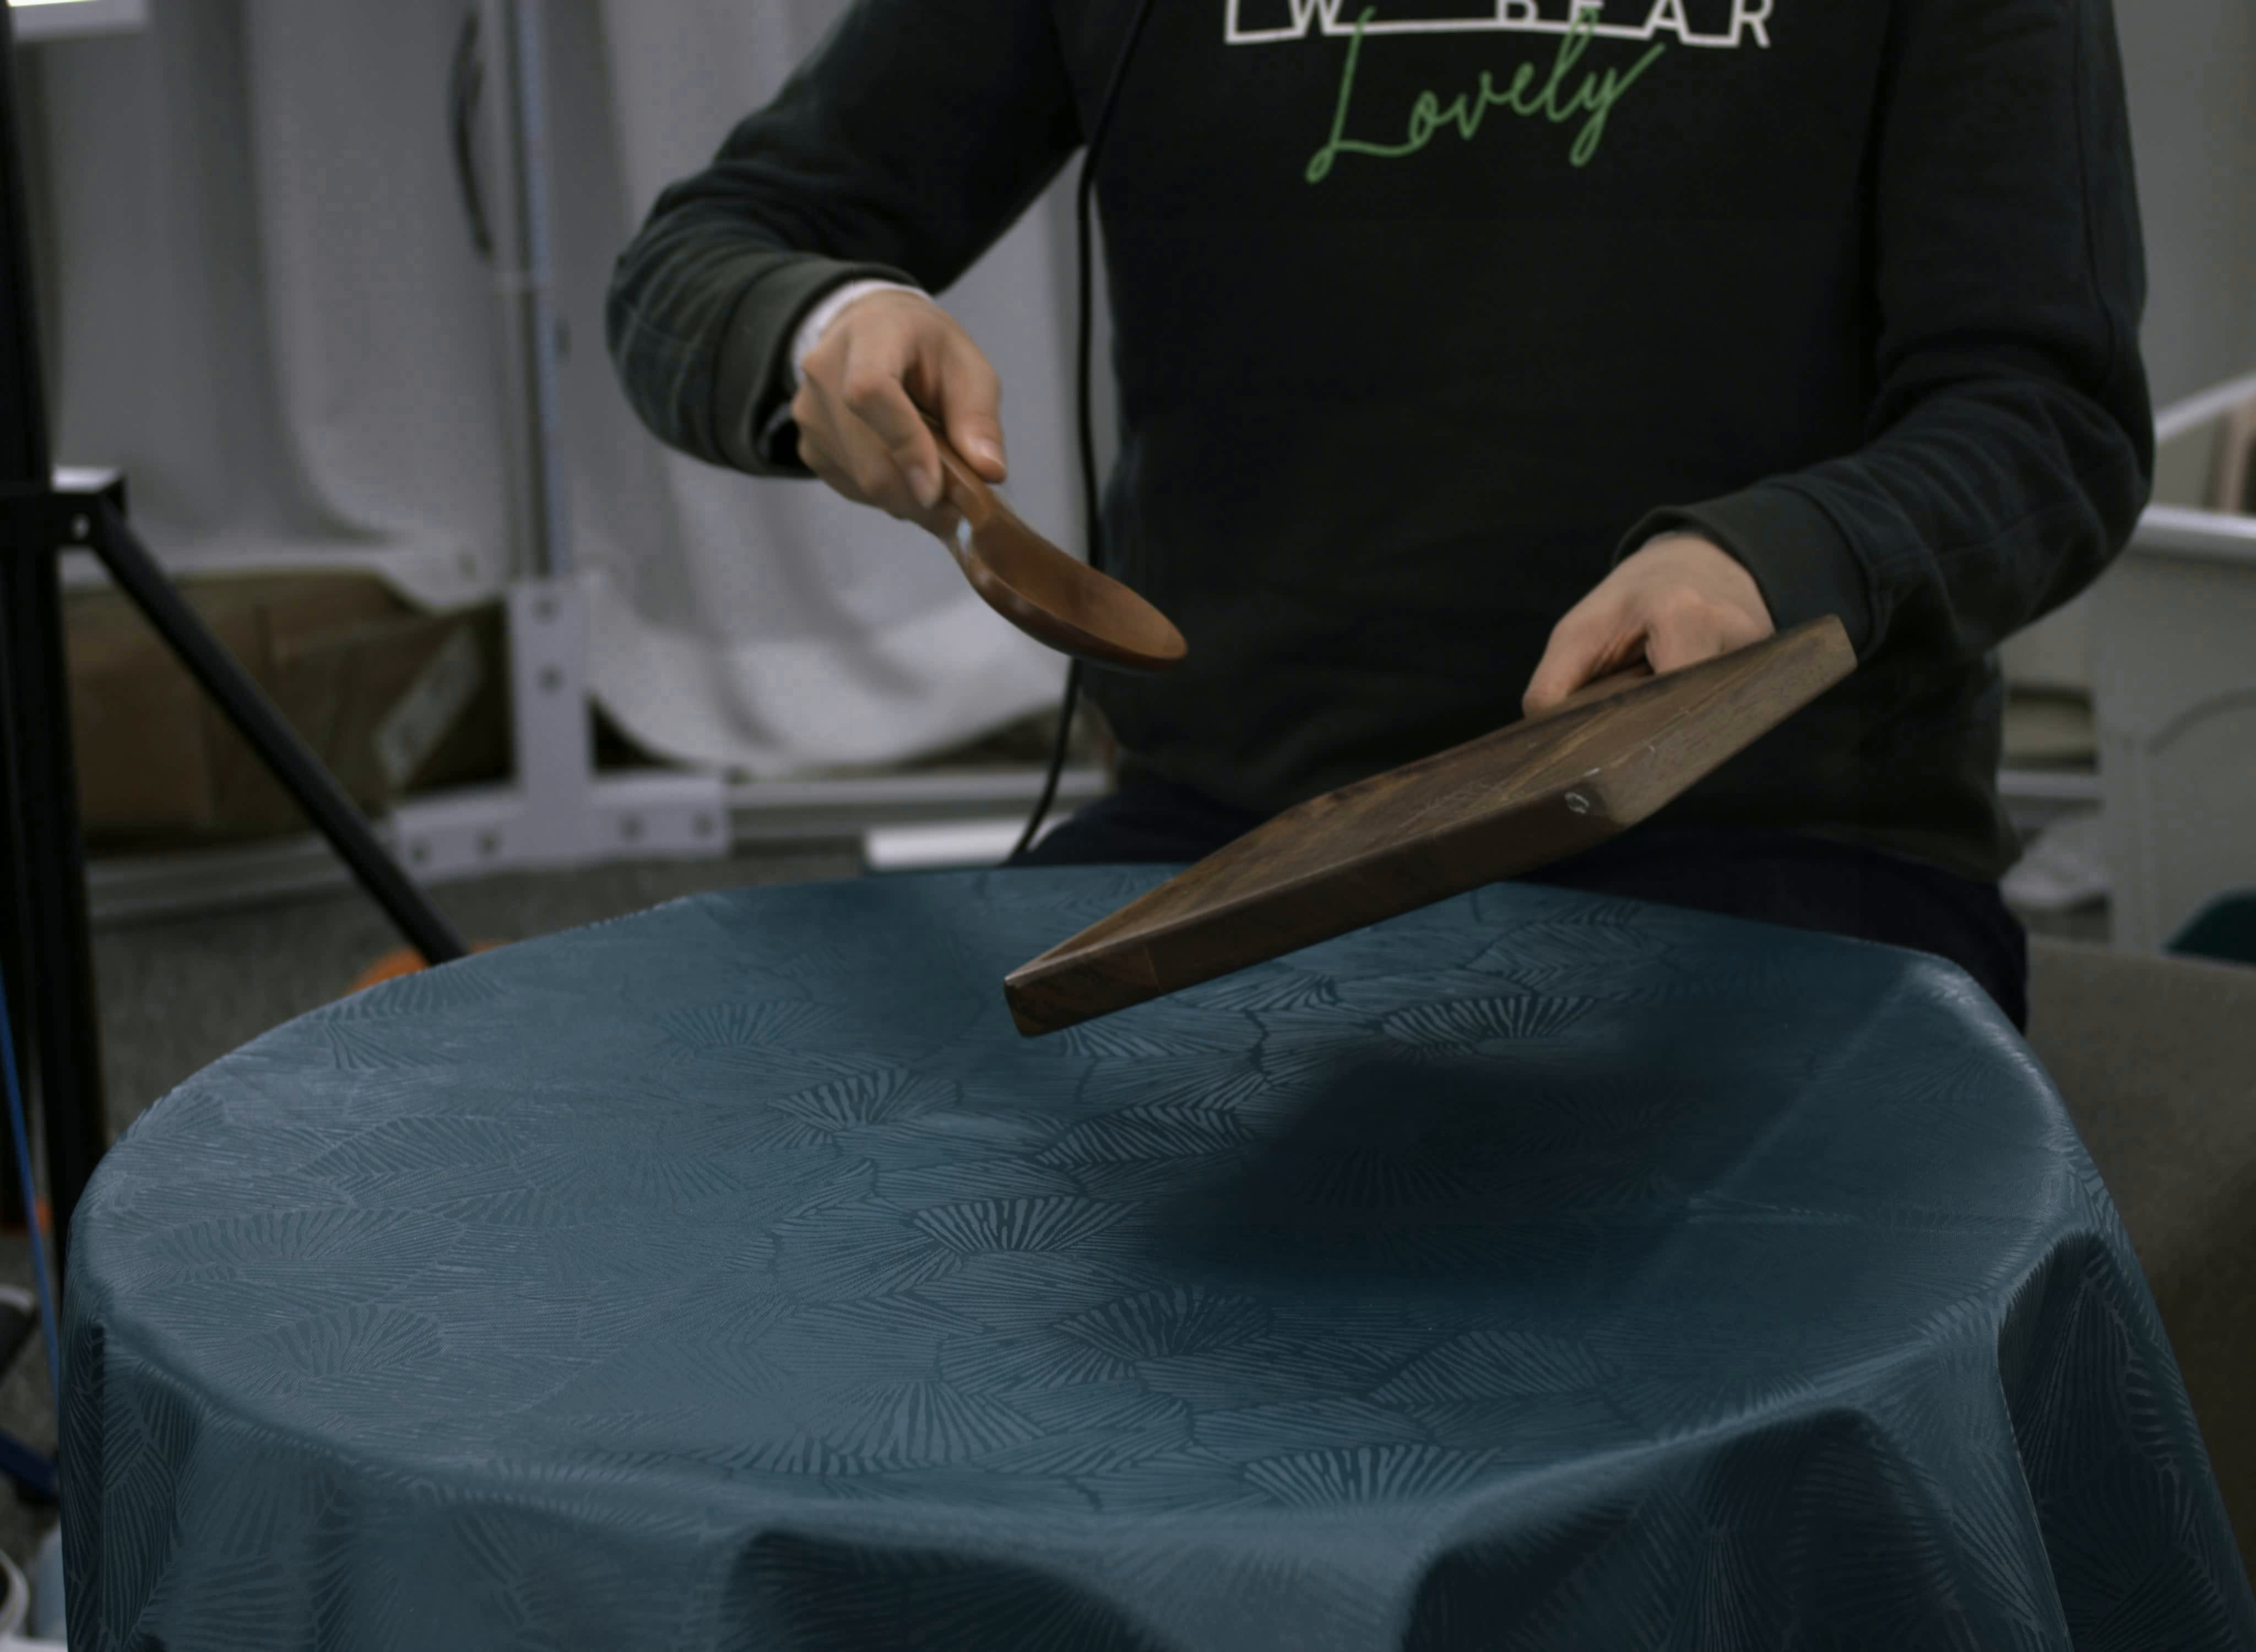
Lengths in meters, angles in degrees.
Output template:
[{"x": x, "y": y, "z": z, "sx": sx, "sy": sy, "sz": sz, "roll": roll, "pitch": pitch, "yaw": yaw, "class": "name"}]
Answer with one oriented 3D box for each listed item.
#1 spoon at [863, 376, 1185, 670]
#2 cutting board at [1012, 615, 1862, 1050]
[{"x": -0.043, "y": -0.096, "z": 1.704, "sx": 0.074, "sy": 0.017, "sz": 0.220, "roll": 13, "pitch": 20, "yaw": -27, "class": "spoon"}, {"x": 0.113, "y": -0.010, "z": 1.592, "sx": 0.203, "sy": 0.023, "sz": 0.347, "roll": -21, "pitch": 3, "yaw": 25, "class": "cutting board"}]
